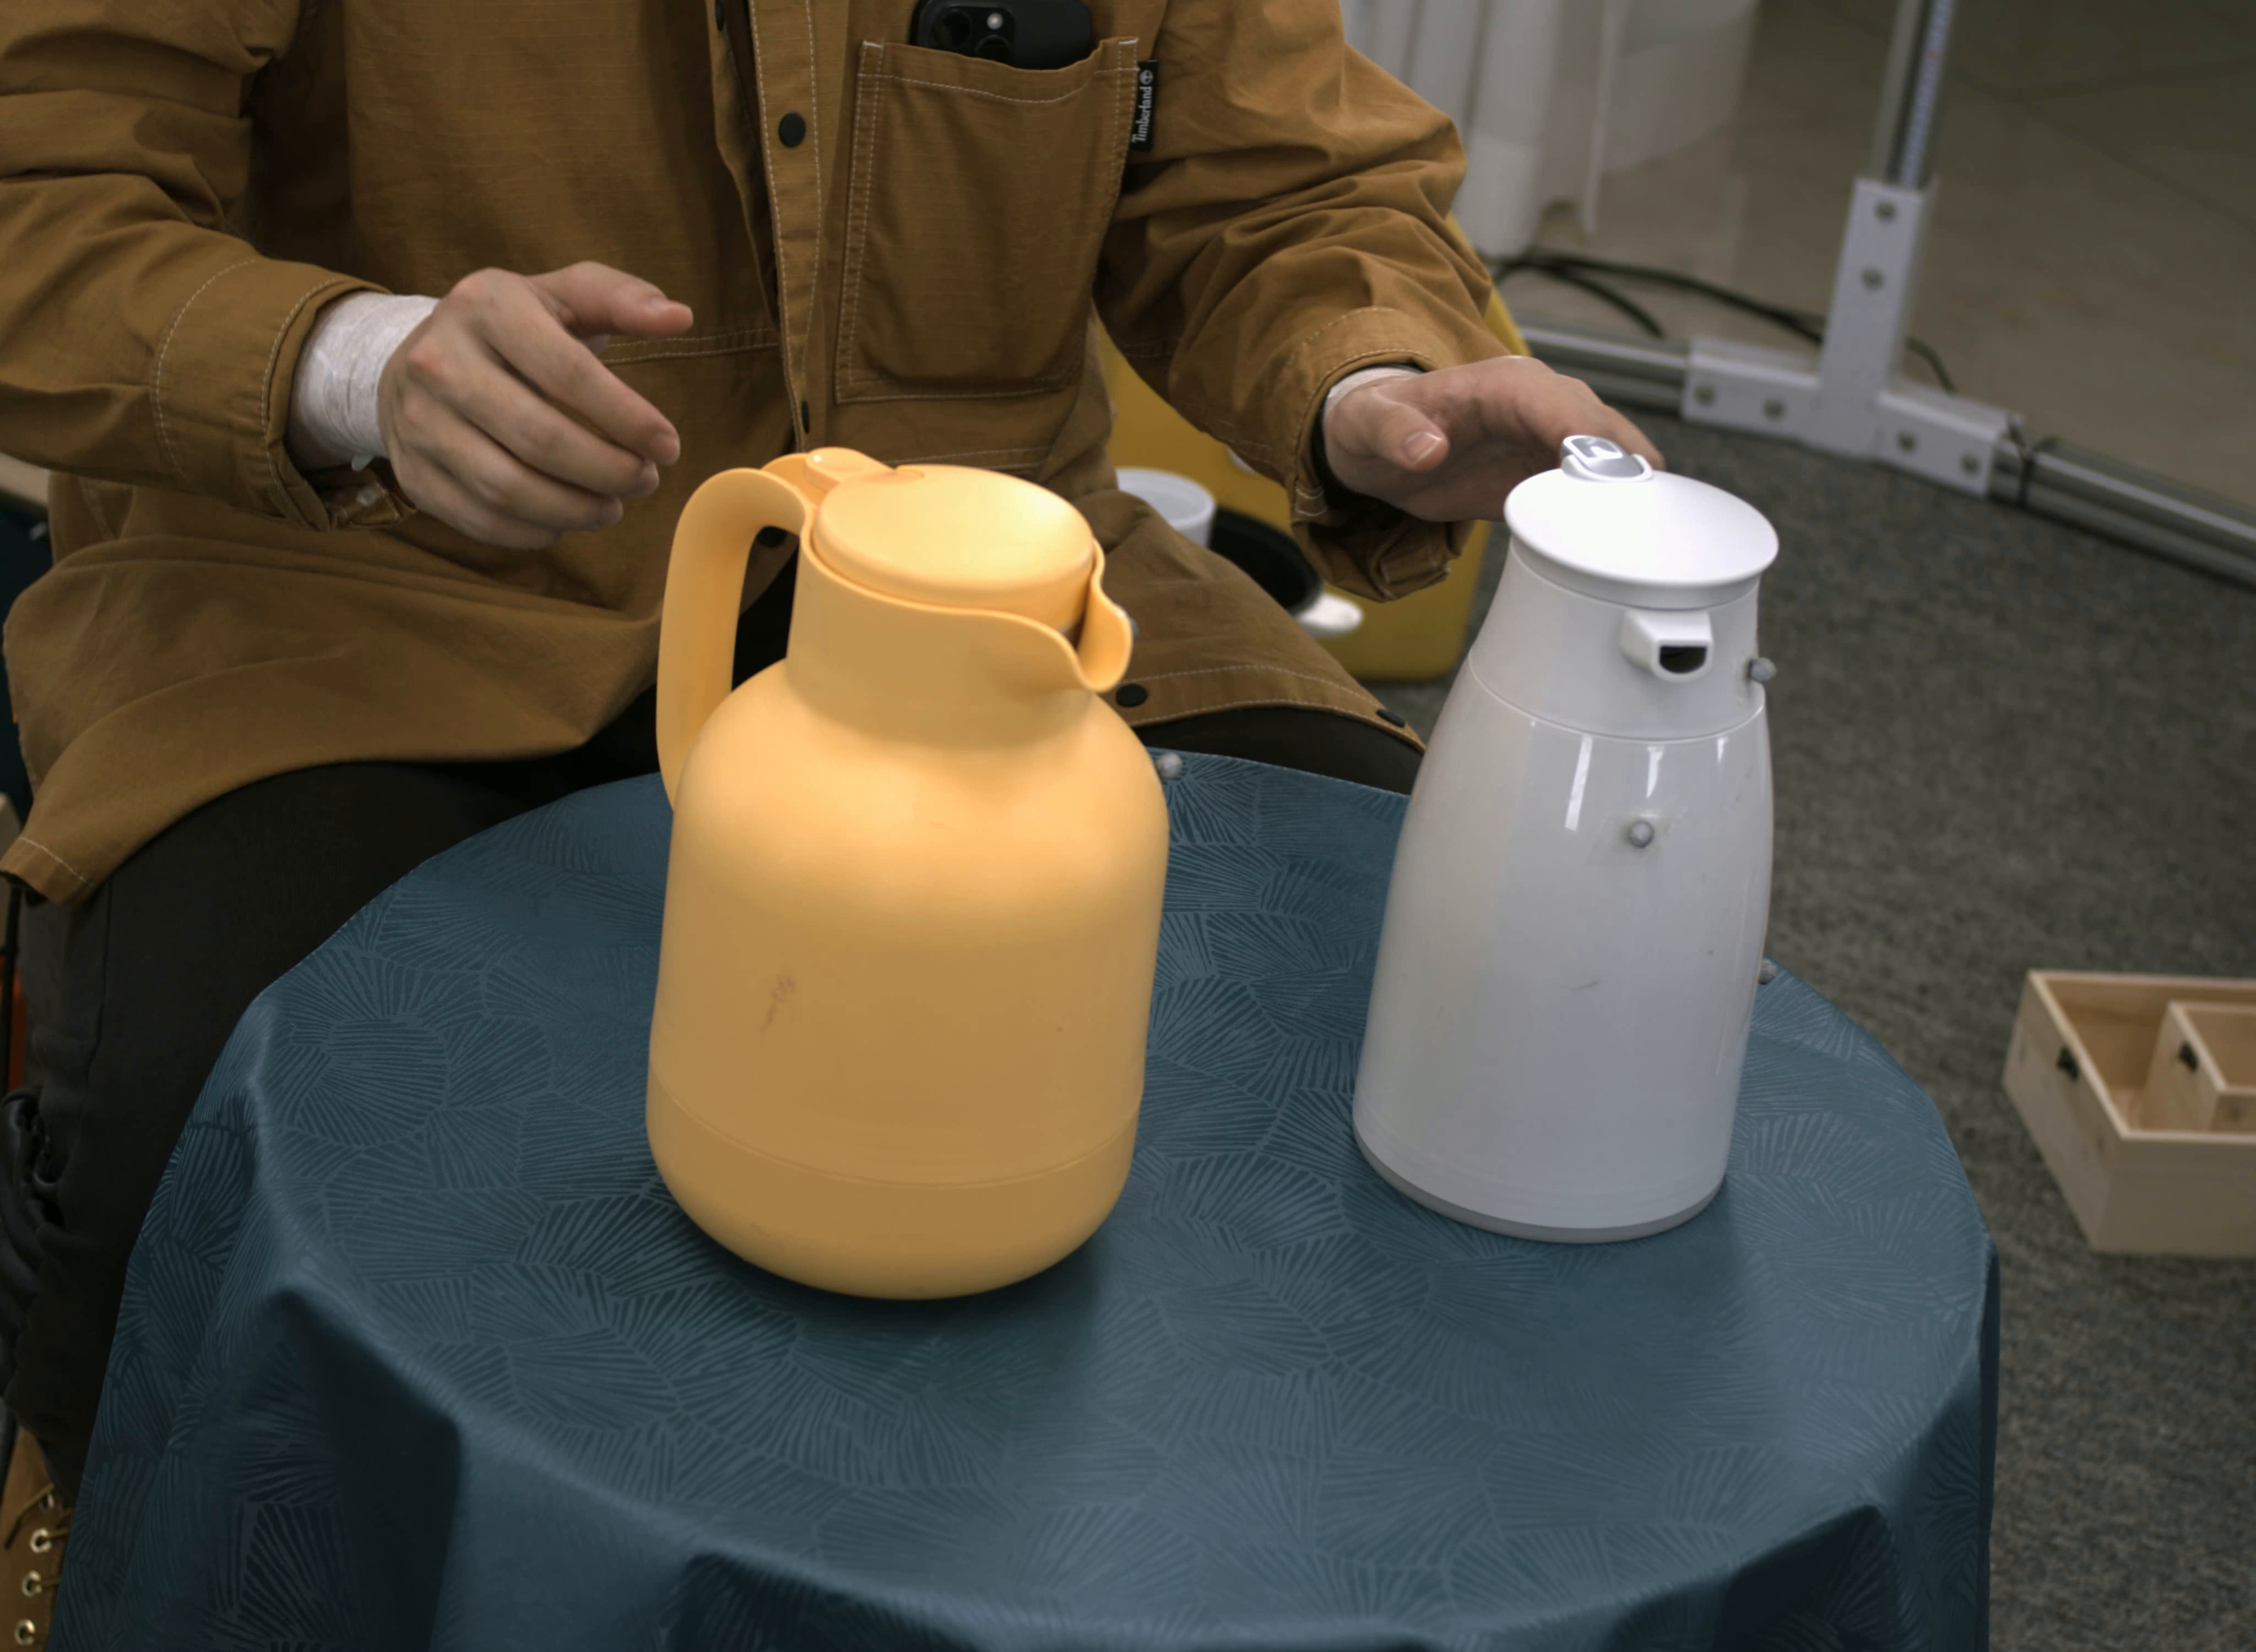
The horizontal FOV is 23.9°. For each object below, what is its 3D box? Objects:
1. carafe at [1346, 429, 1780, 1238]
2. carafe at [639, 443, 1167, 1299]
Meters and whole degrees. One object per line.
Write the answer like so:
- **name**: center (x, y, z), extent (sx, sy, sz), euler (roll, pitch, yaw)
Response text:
- **carafe**: center (0.151, -0.008, 1.823), extent (0.132, 0.248, 0.169), euler (1, 27, -13)
- **carafe**: center (-0.080, 0.005, 1.735), extent (0.162, 0.260, 0.204), euler (-14, 34, -40)
